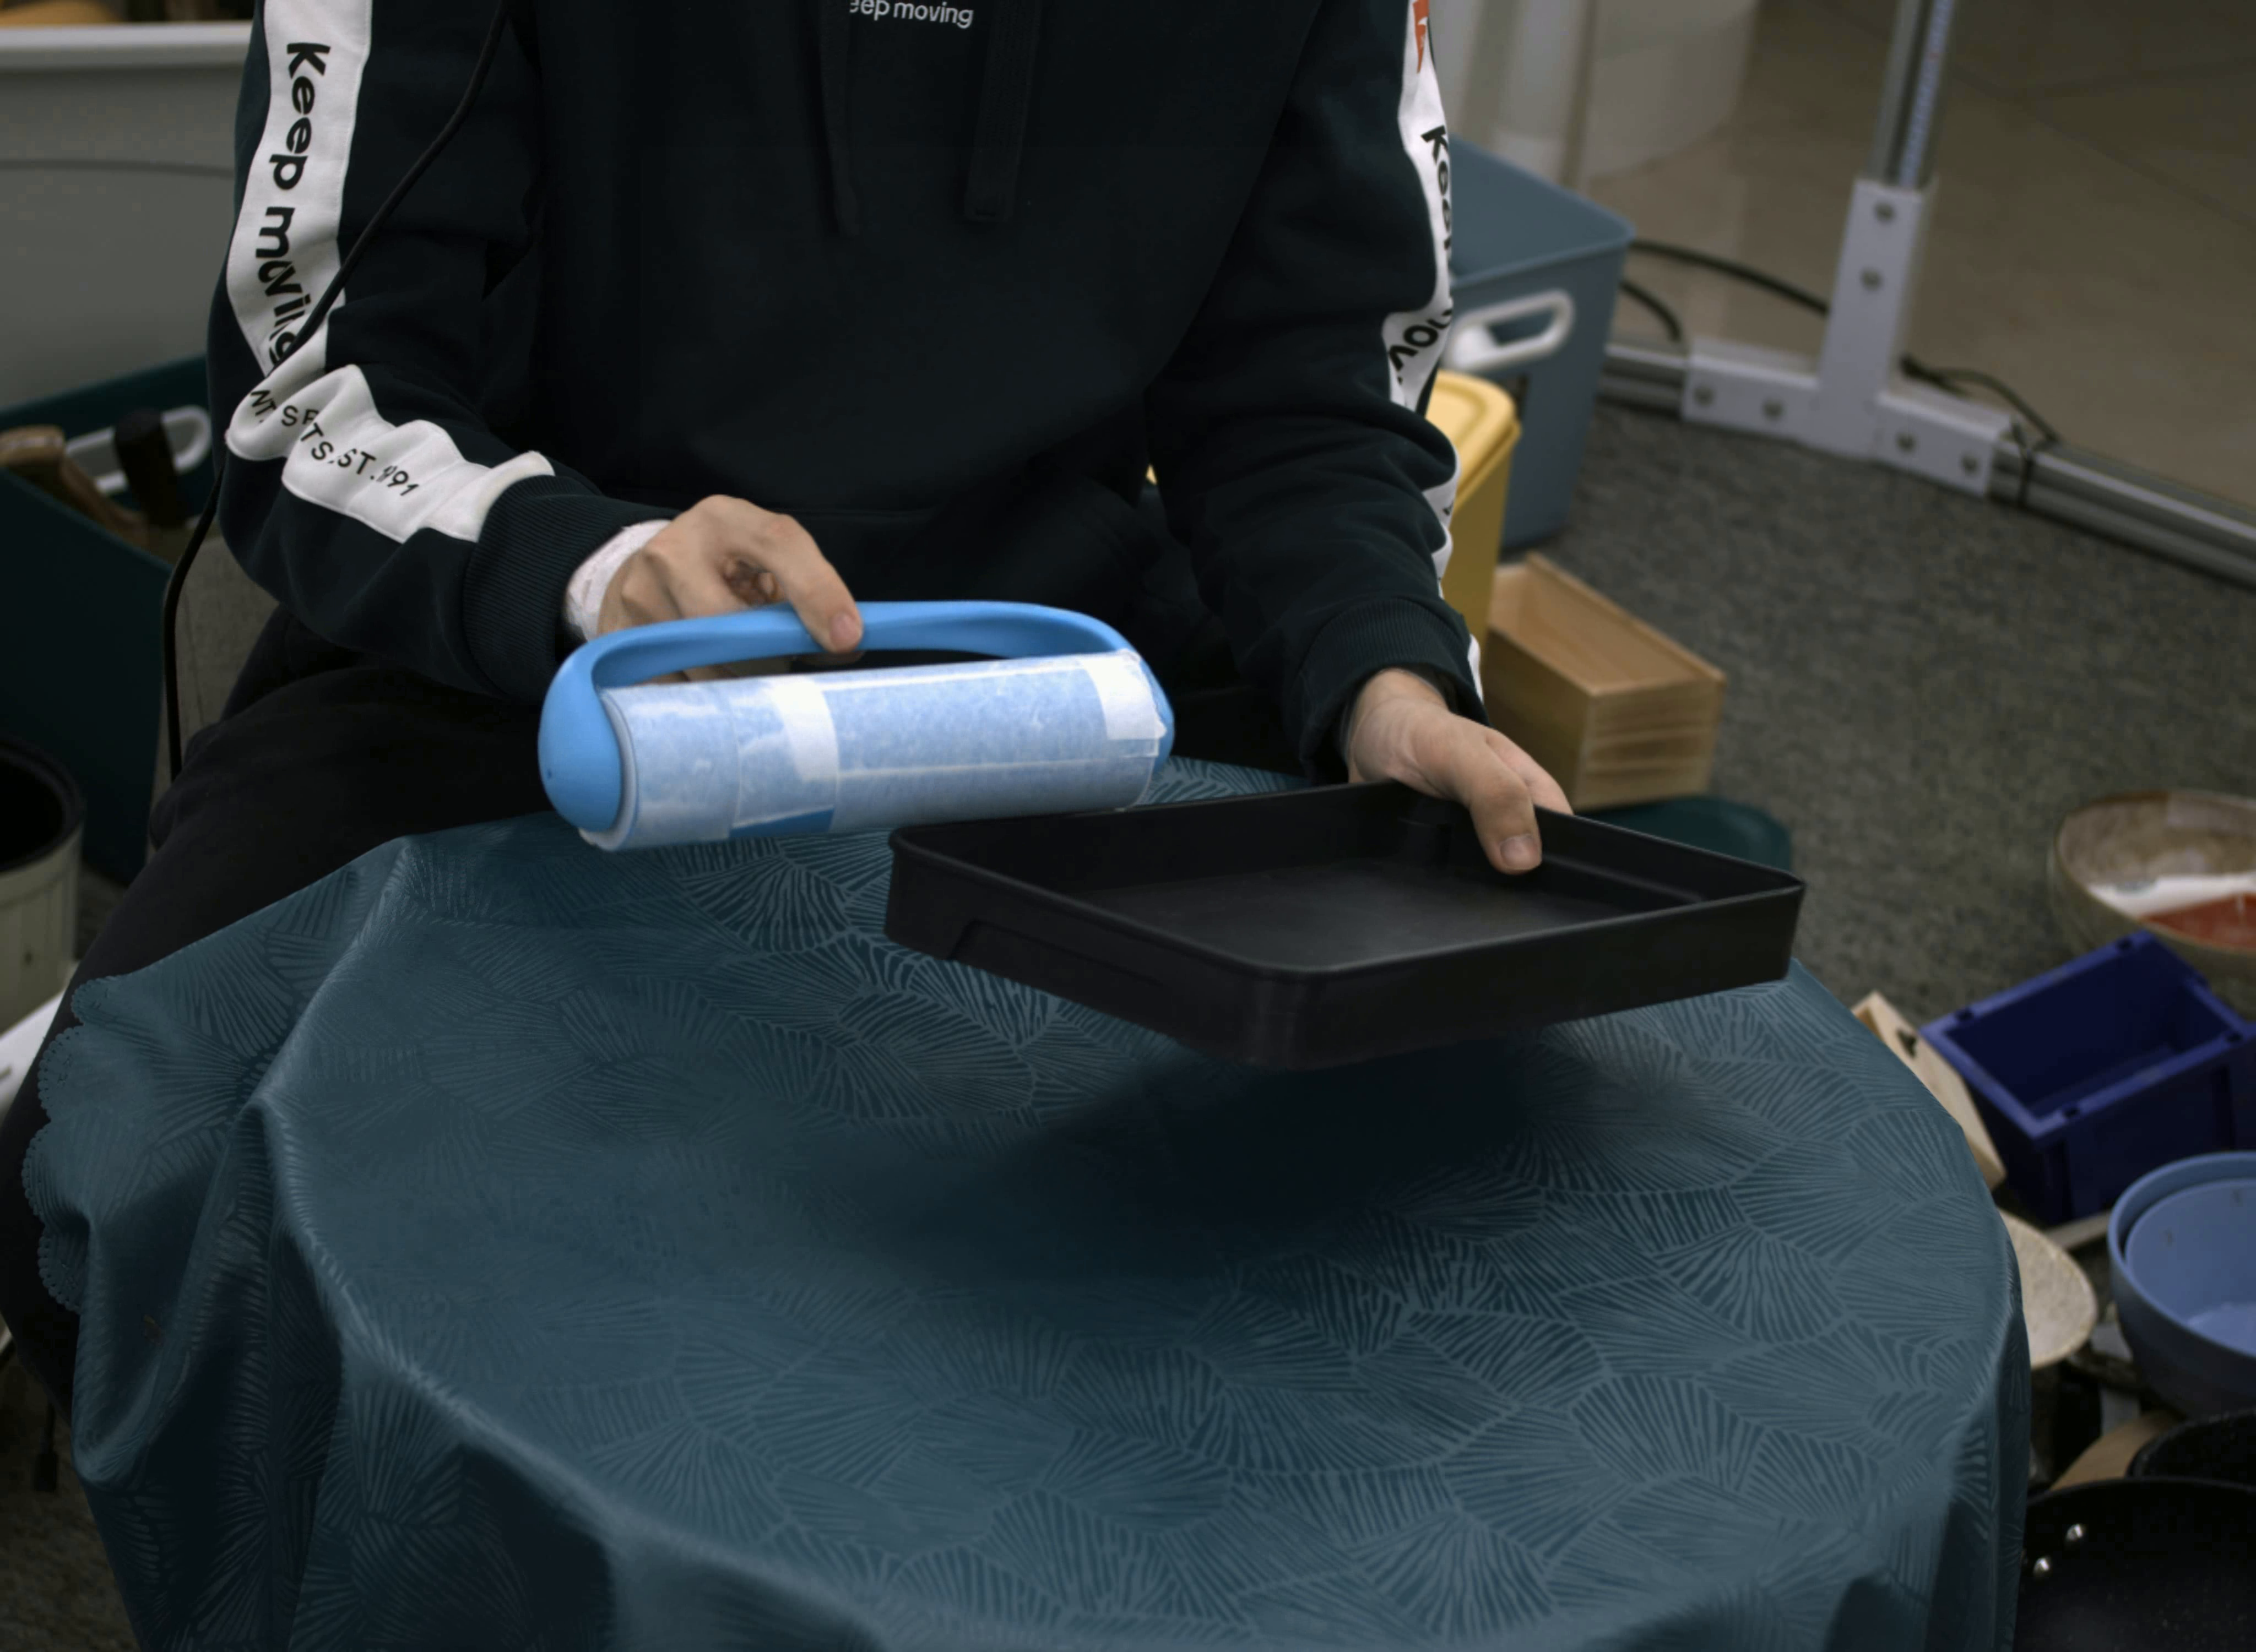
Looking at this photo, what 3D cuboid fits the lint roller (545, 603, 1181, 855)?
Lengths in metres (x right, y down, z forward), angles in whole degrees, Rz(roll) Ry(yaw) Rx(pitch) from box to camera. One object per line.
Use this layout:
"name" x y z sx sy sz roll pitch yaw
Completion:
"lint roller" -0.115 -0.045 1.812 0.227 0.068 0.182 -8 21 -29

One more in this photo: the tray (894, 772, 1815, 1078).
"tray" 0.081 0.029 1.813 0.185 0.037 0.316 15 15 37
